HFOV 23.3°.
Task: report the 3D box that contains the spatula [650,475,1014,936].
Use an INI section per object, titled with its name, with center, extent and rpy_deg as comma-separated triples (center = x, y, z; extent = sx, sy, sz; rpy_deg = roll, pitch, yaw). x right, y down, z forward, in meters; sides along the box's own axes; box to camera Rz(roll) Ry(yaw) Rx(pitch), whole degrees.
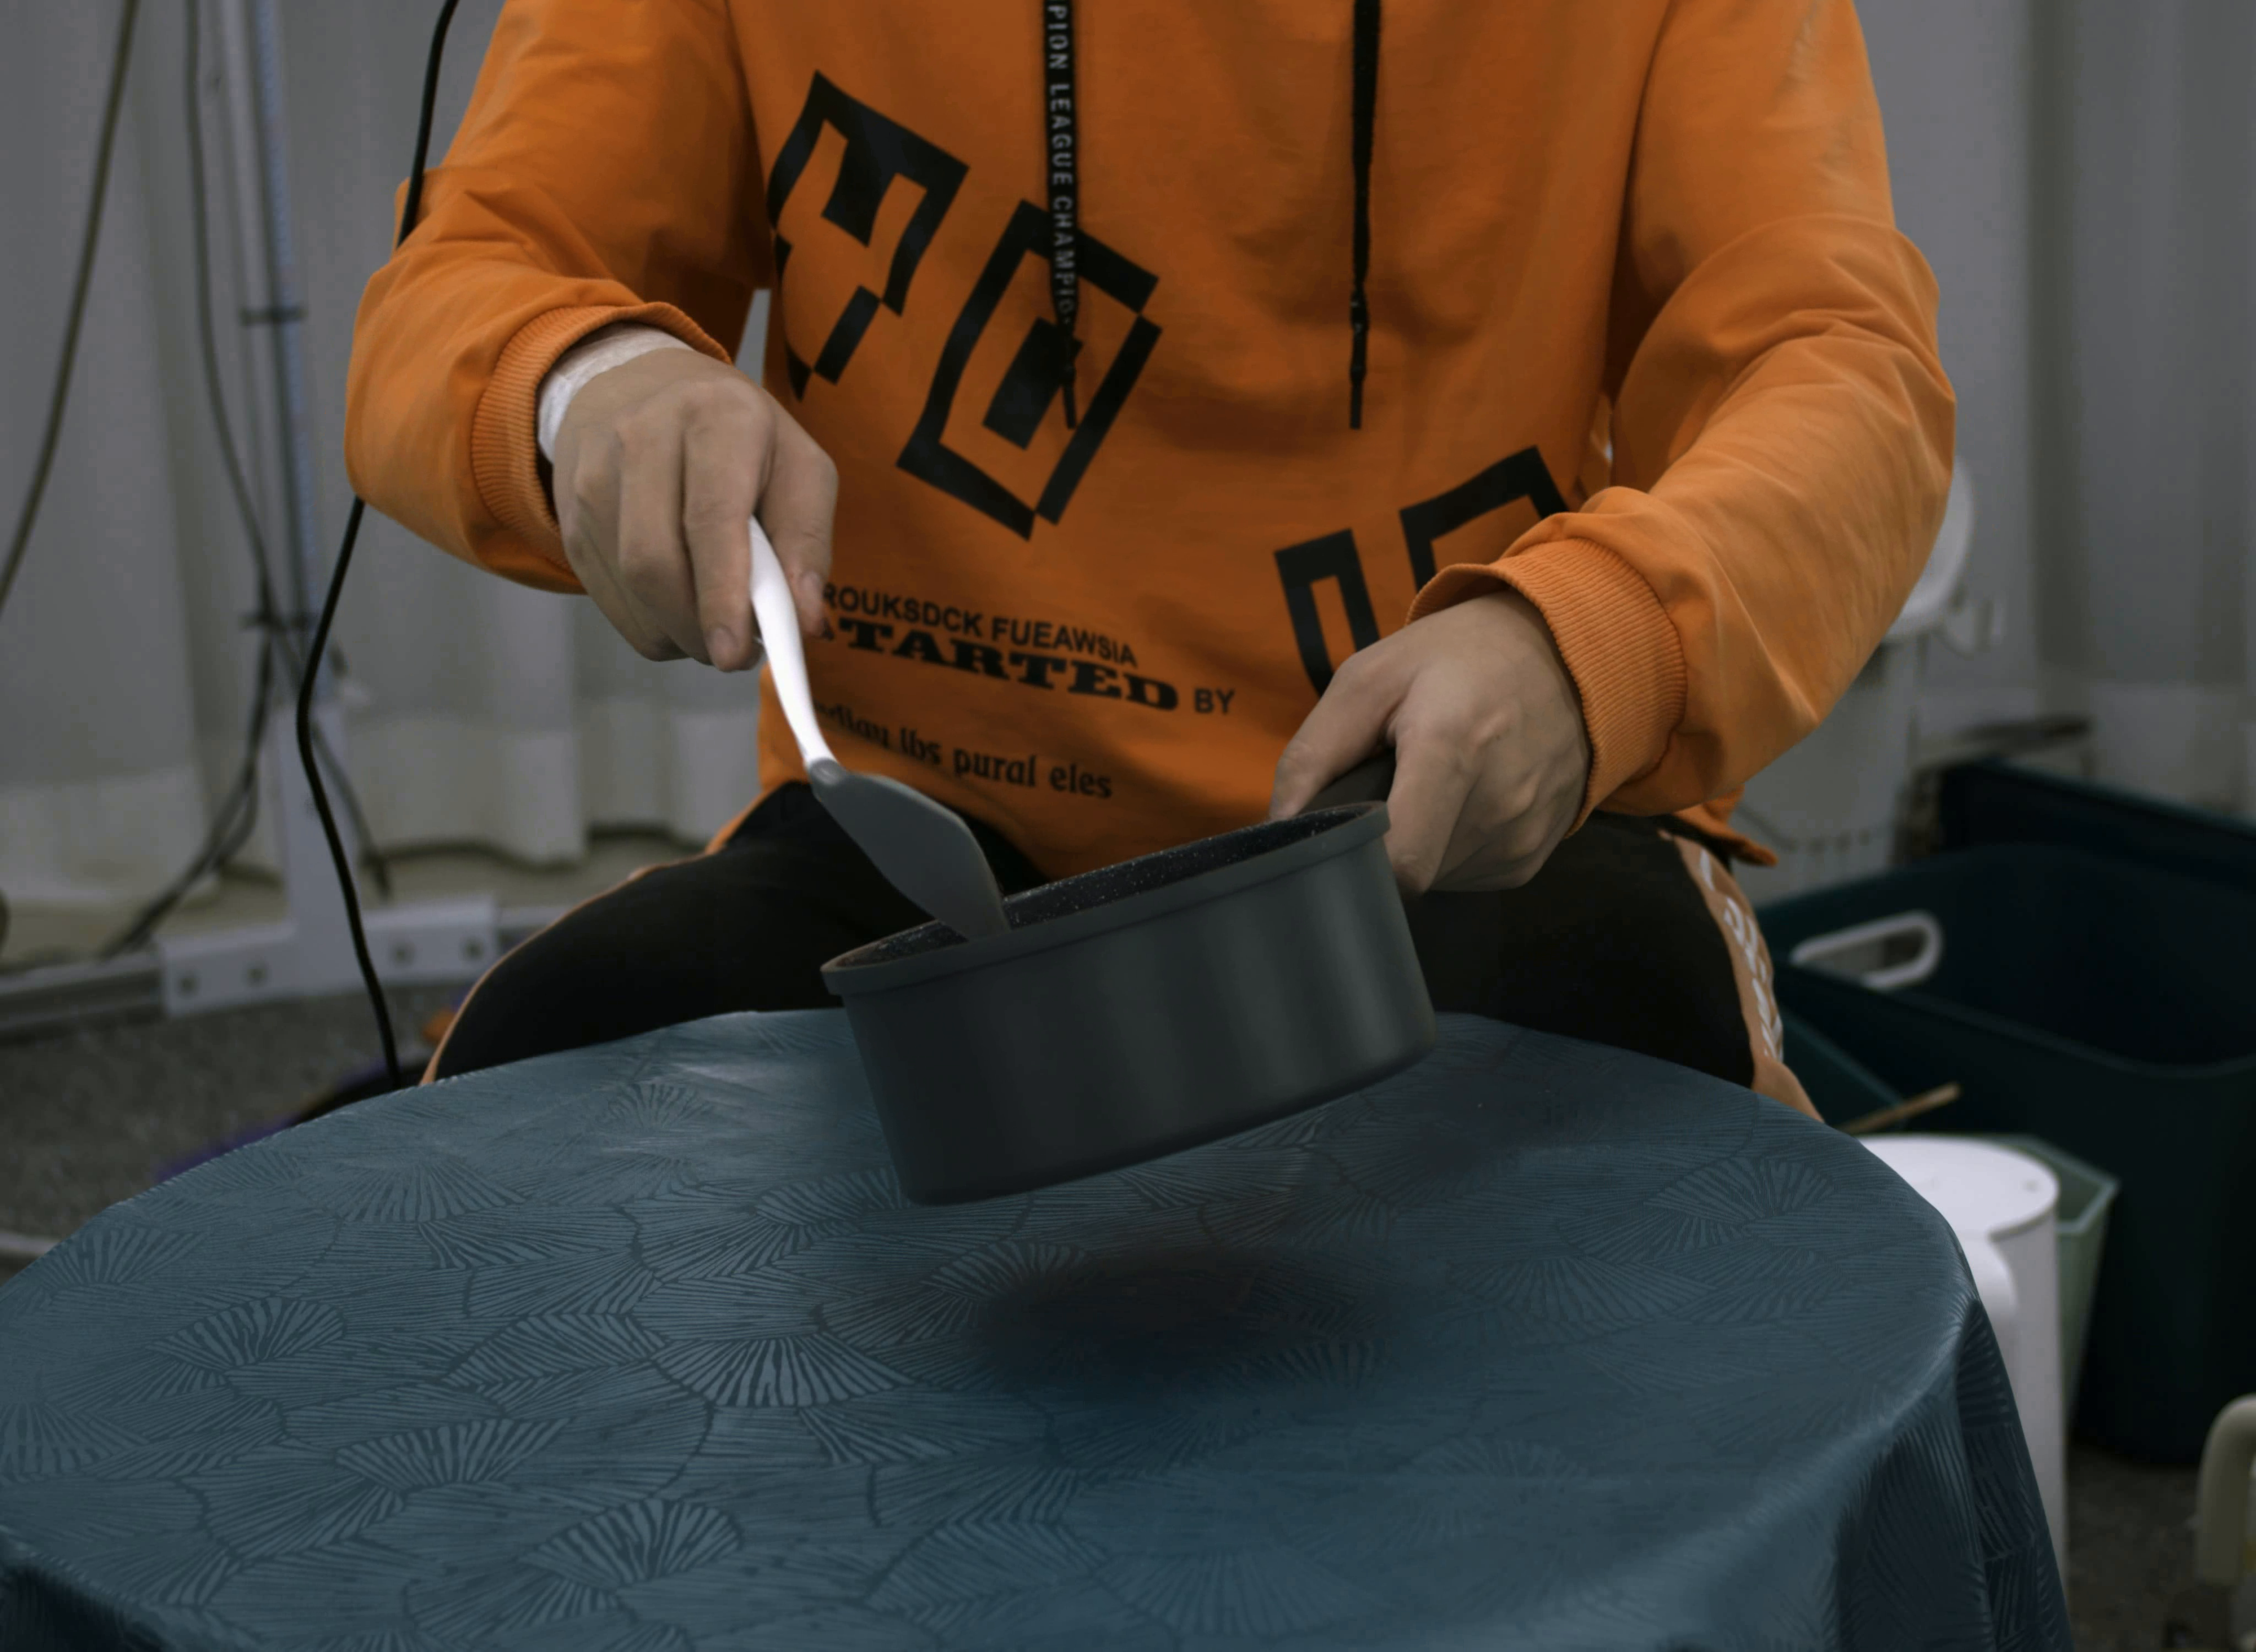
[spatula]
center = -0.091, -0.036, 1.632
extent = 0.032, 0.058, 0.291
rpy_deg = -24, 31, -8

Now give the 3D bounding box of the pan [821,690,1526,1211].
[pan]
center = 0.042, 0.033, 1.650
extent = 0.172, 0.086, 0.329
rpy_deg = -14, 5, 32
